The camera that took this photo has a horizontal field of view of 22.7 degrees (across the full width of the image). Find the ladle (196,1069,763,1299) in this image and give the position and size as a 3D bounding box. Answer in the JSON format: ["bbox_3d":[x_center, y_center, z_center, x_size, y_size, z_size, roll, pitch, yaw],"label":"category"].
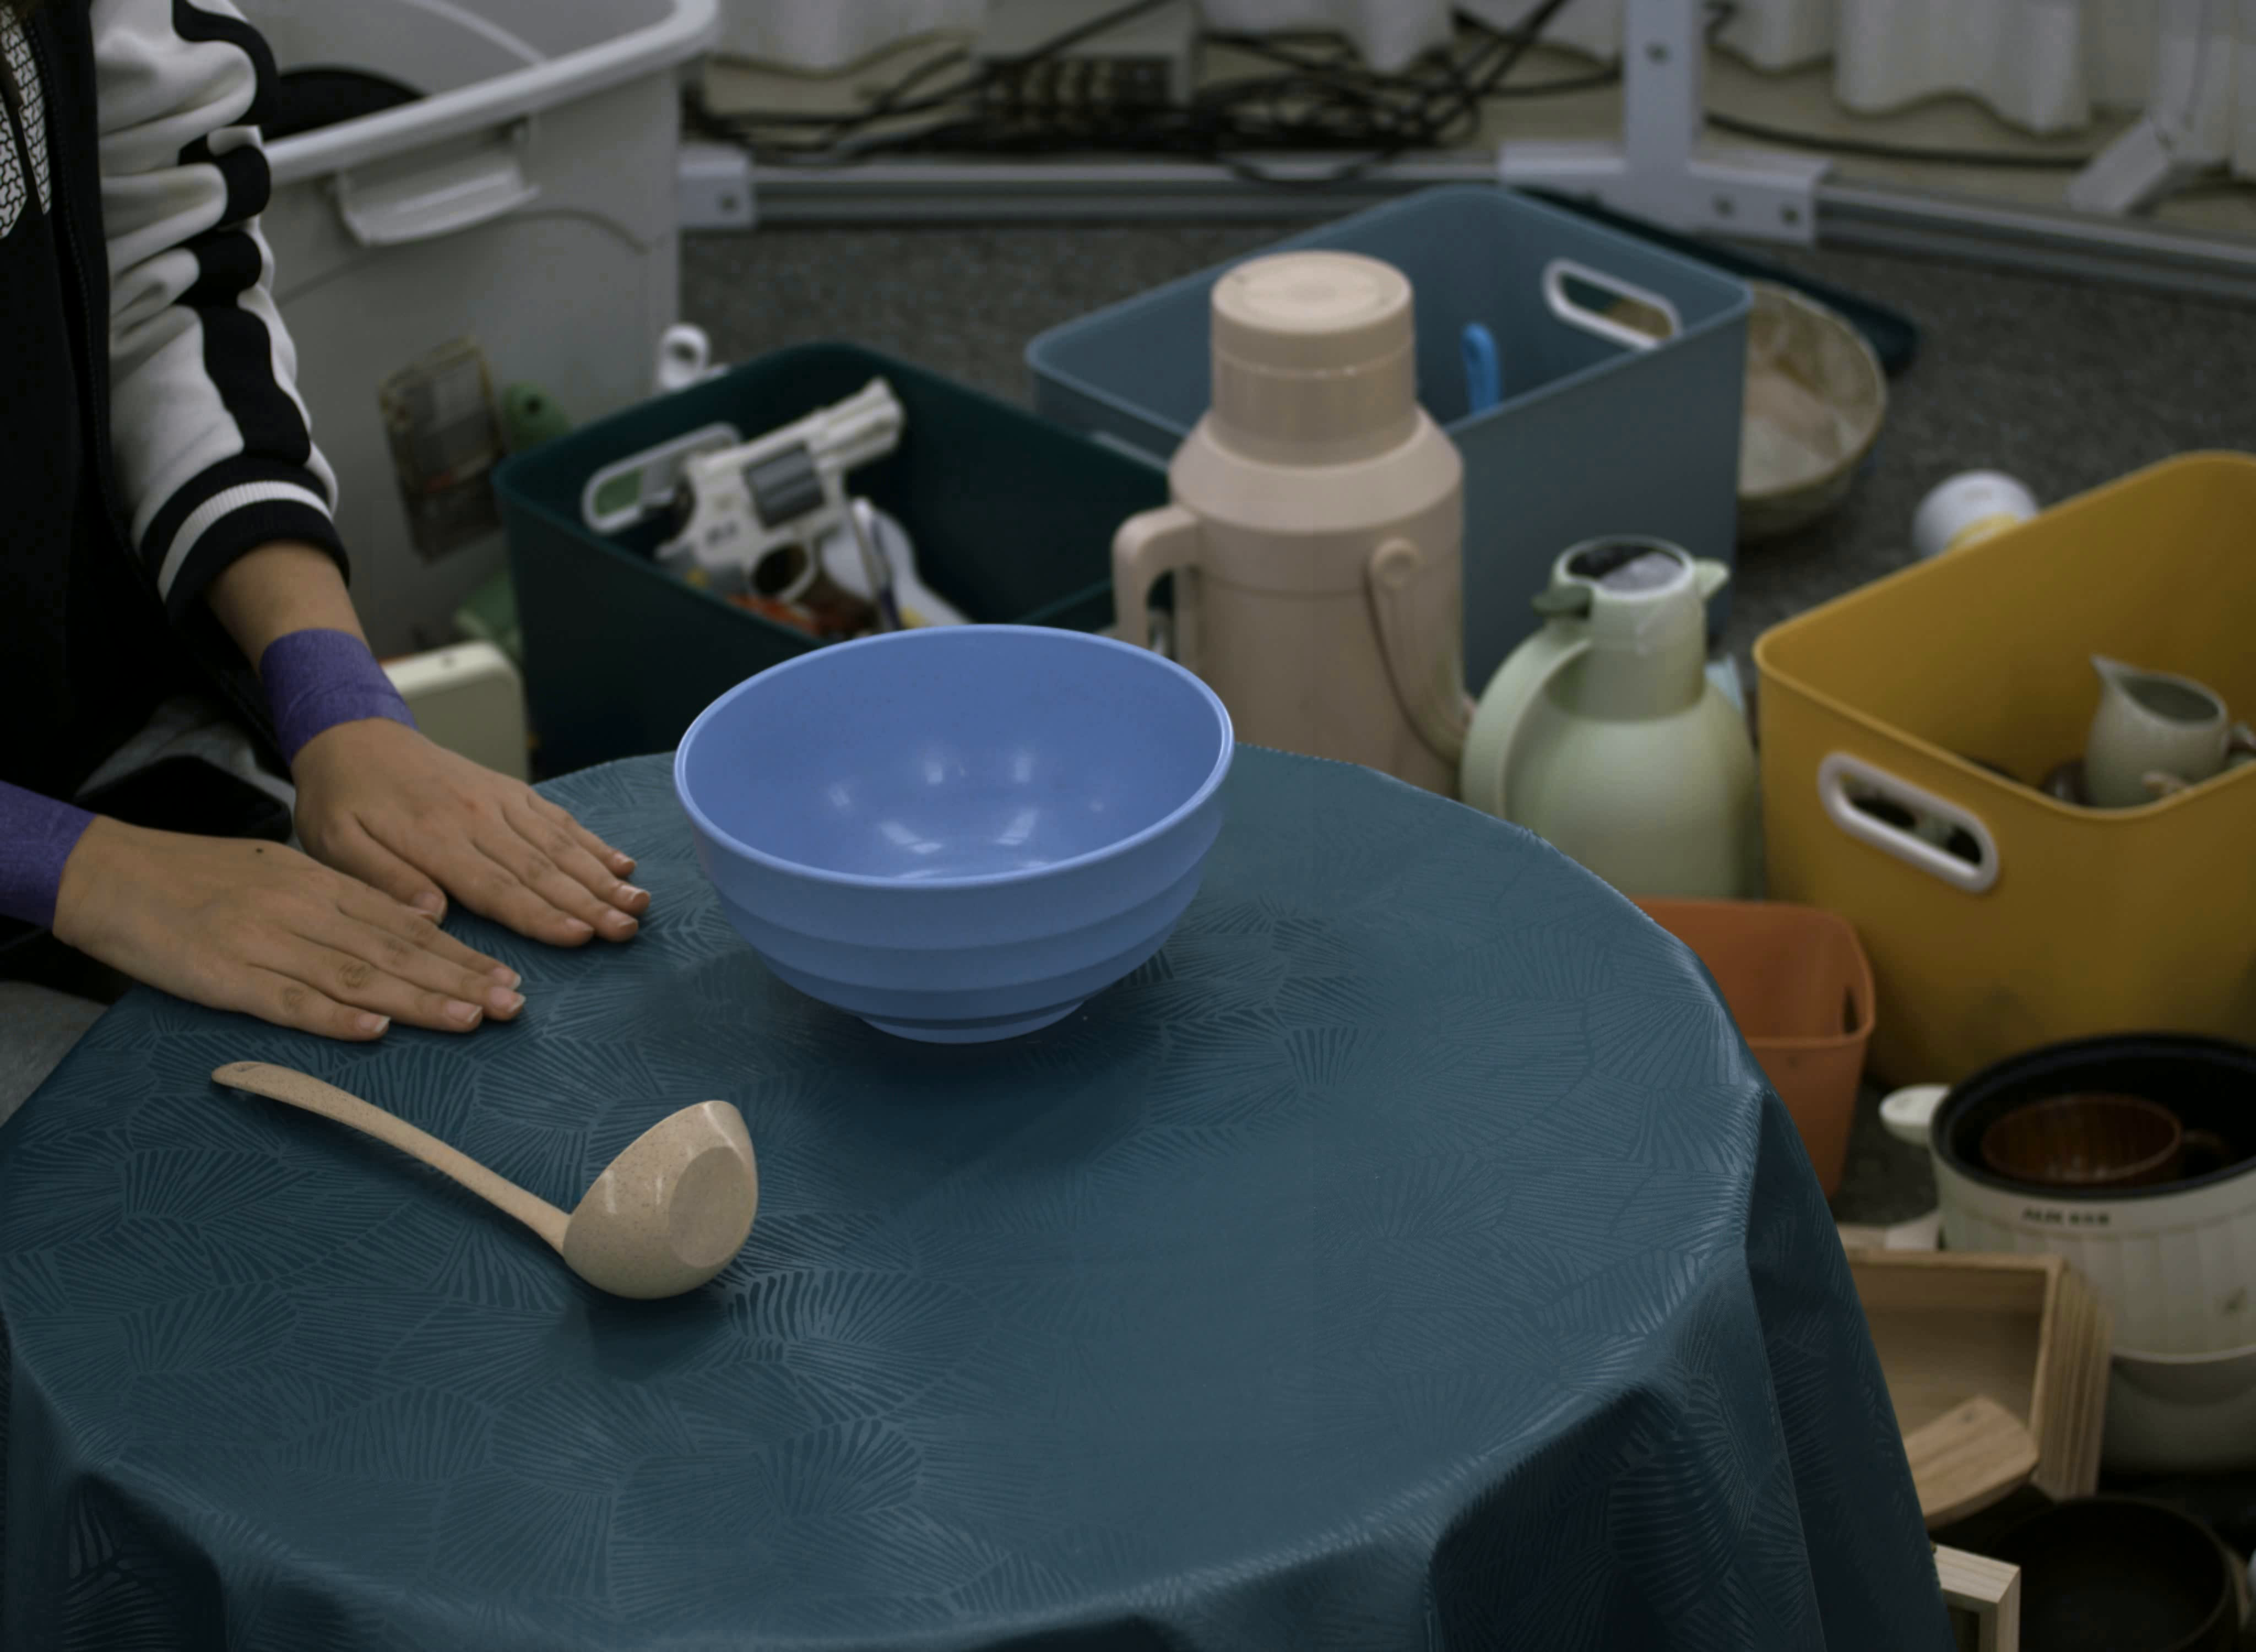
[{"bbox_3d":[-0.225,0.091,1.865,0.253,0.072,0.073,20,27,37],"label":"ladle"}]

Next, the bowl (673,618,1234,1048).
[{"bbox_3d":[-0.058,0.015,1.975,0.195,0.094,0.199,-3,29,2],"label":"bowl"}]
